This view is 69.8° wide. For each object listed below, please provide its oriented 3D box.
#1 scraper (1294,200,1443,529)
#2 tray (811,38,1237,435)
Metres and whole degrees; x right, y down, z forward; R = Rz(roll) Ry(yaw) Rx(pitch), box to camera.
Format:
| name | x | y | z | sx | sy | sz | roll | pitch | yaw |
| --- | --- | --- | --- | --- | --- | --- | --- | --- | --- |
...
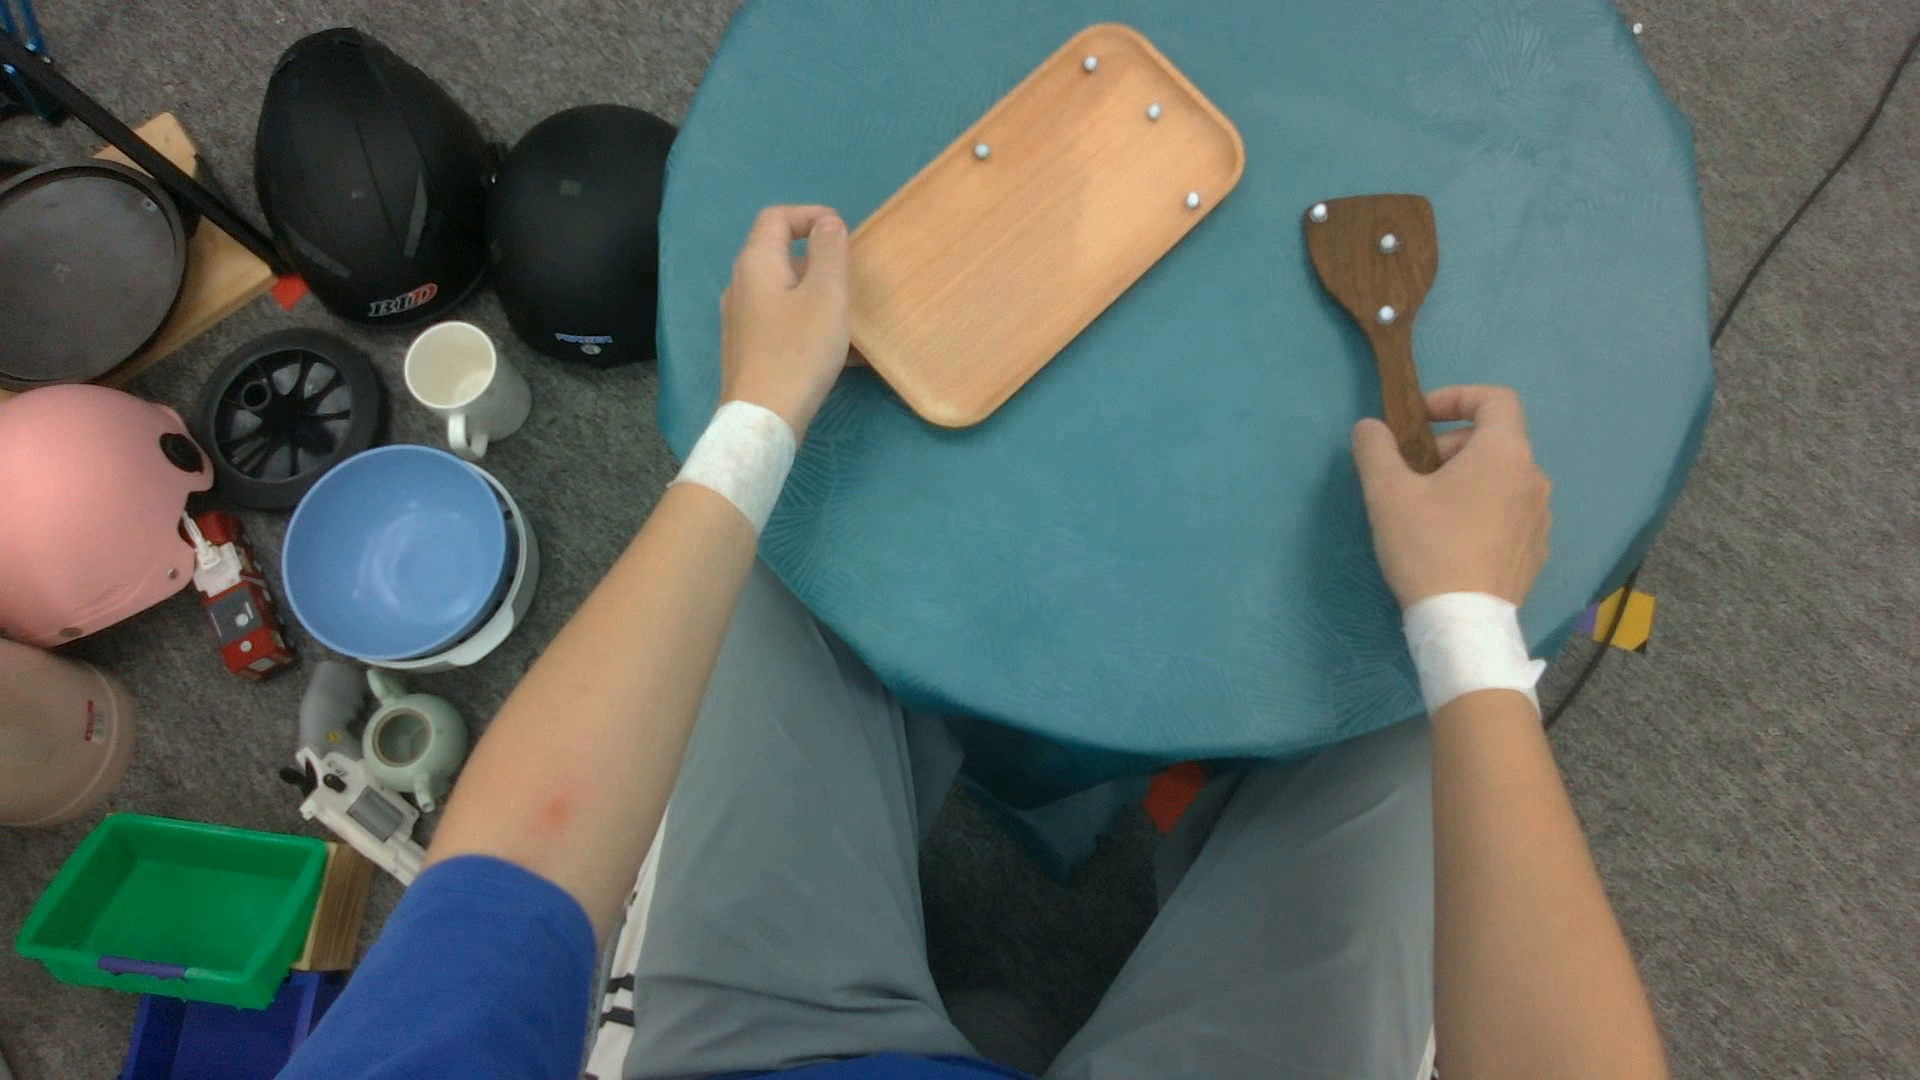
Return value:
| name | x | y | z | sx | sy | sz | roll | pitch | yaw |
| --- | --- | --- | --- | --- | --- | --- | --- | --- | --- |
| scraper | 0.235 | -0.101 | 0.761 | 0.076 | 0.011 | 0.212 | -3 | 64 | 3 |
| tray | 0.039 | -0.176 | 0.791 | 0.251 | 0.023 | 0.130 | -42 | 83 | -10 |
